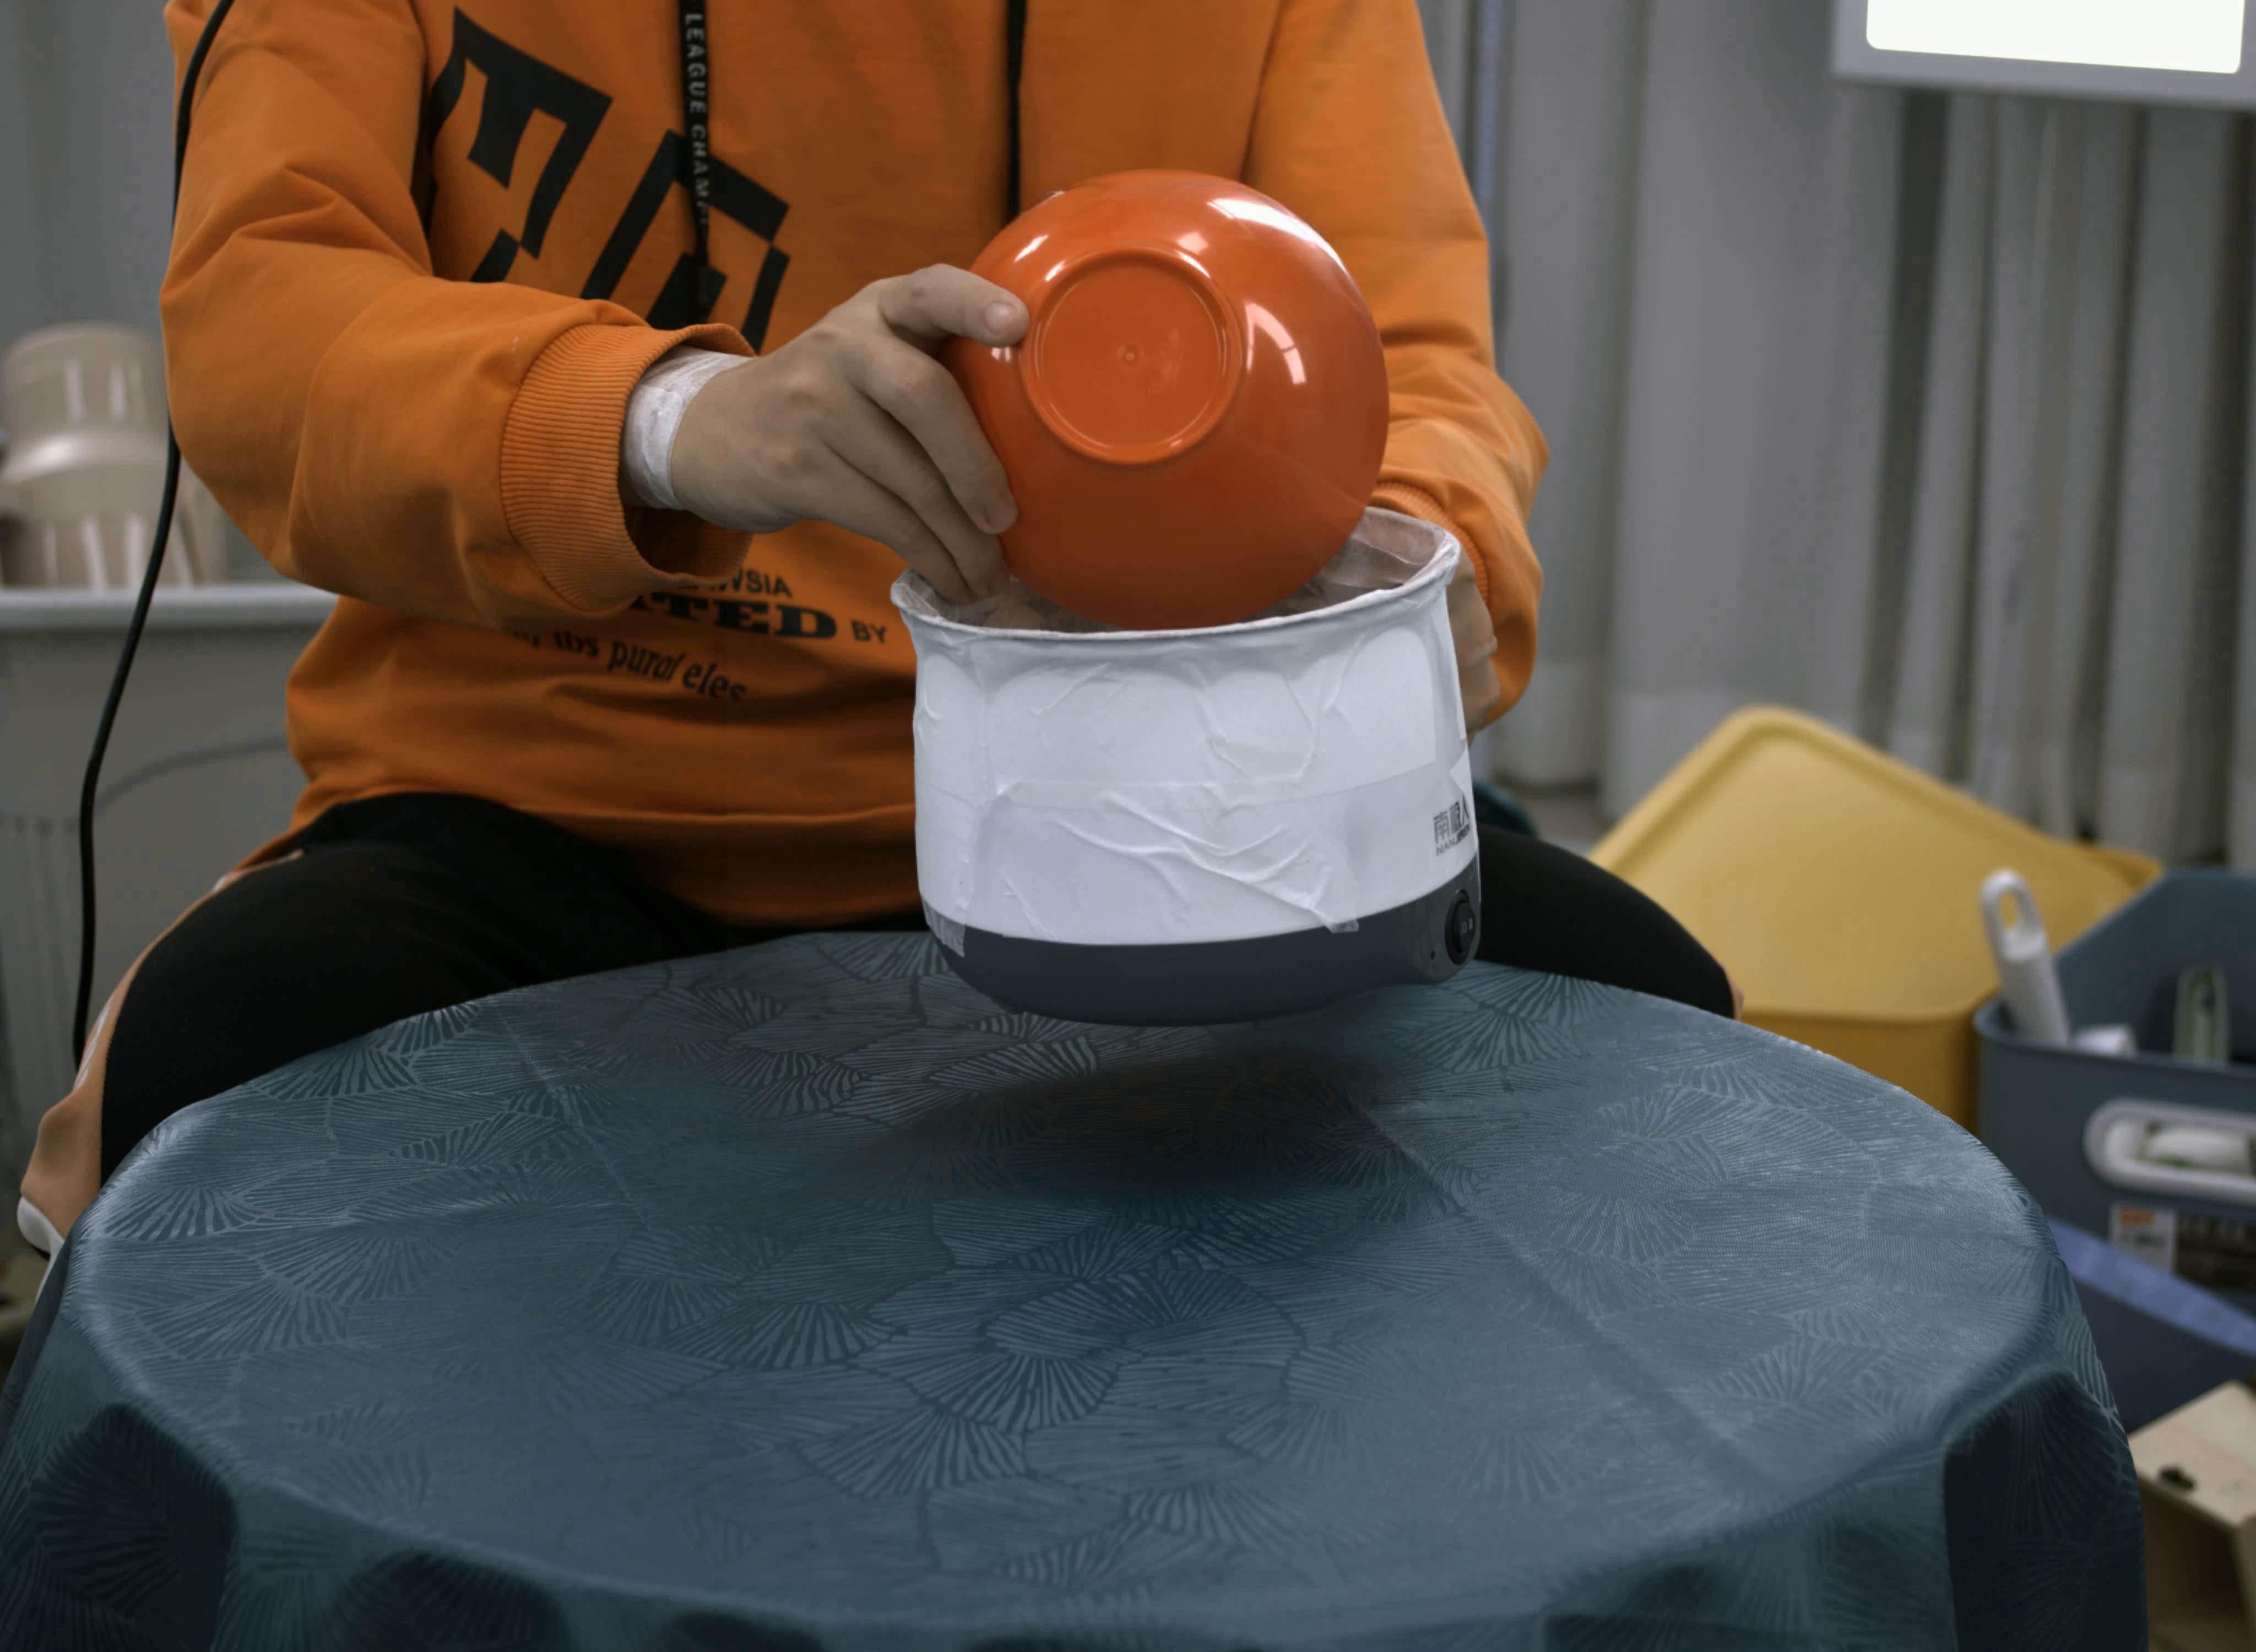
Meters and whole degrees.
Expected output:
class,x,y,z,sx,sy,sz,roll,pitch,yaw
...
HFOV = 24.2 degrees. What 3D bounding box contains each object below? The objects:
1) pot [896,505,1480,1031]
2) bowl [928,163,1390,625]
class,x,y,z,sx,sy,sz,roll,pitch,yaw
pot,0.031,-0.028,1.671,0.177,0.138,0.234,3,17,22
bowl,0.011,-0.138,1.627,0.147,0.148,0.104,0,-2,-2
